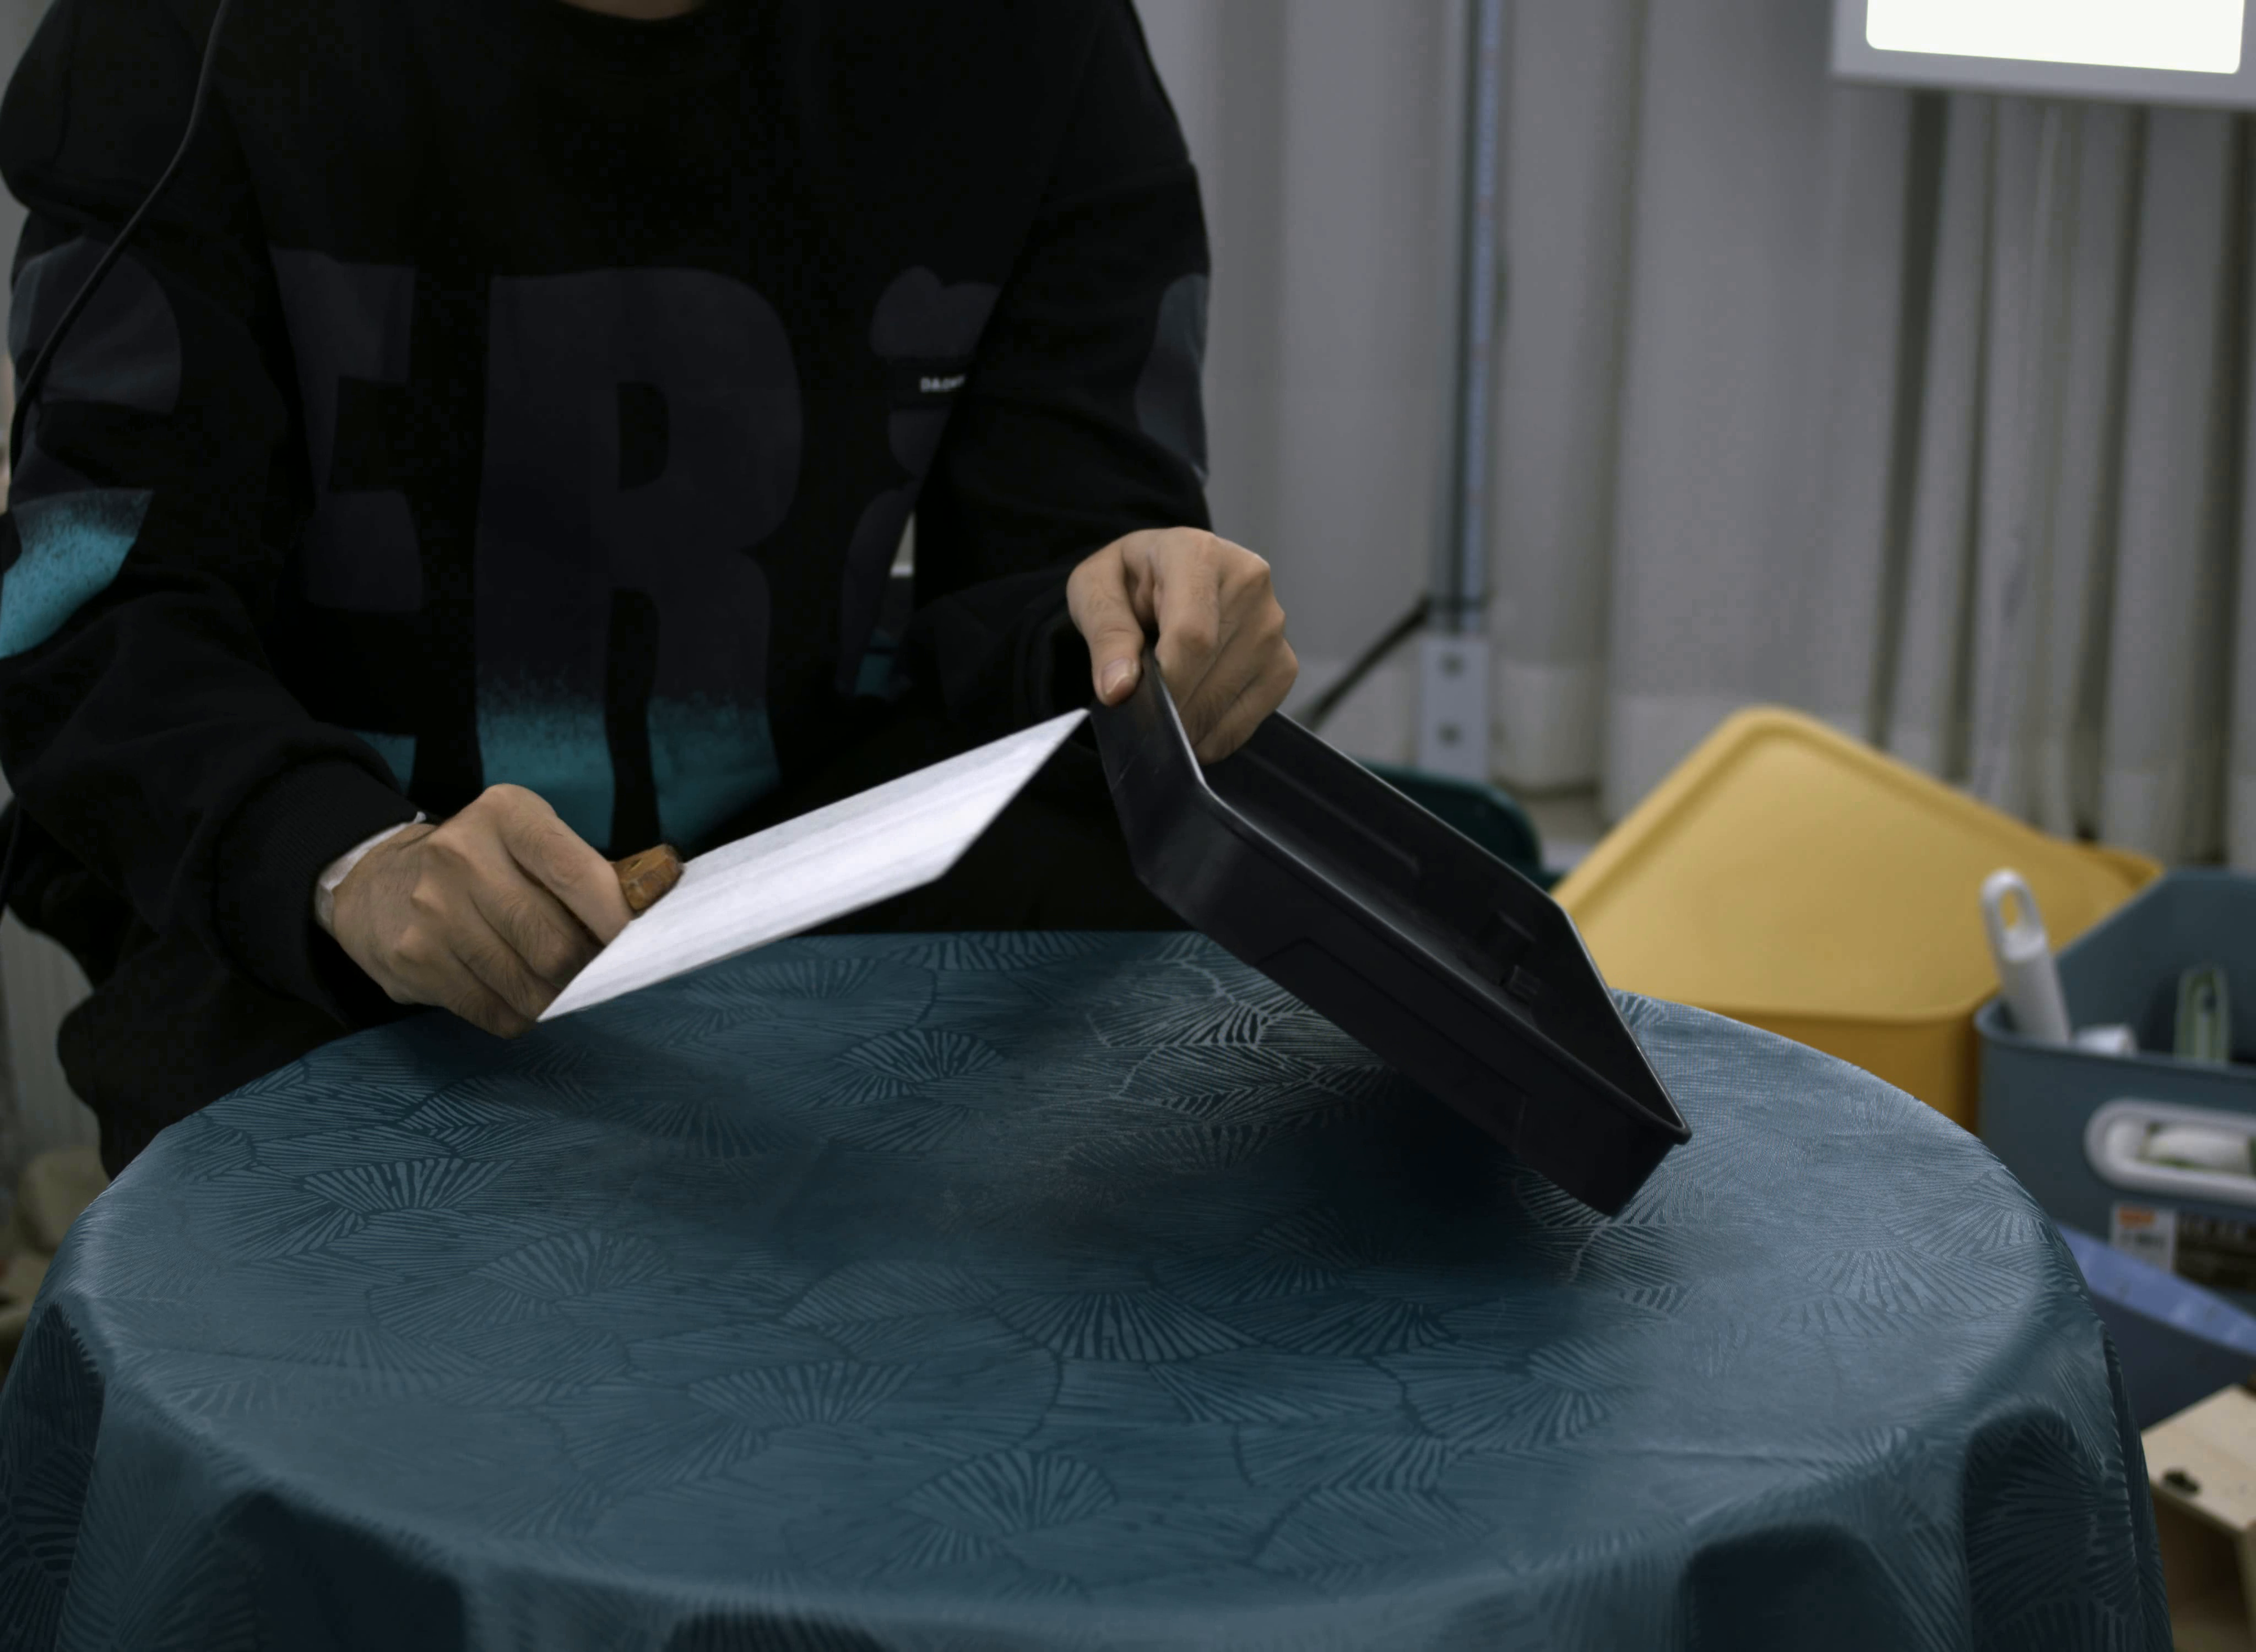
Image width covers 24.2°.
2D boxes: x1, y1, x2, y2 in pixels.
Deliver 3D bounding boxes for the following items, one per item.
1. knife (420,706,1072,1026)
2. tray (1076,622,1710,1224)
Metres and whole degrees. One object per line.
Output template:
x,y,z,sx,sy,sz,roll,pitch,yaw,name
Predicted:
-0.136,0.025,1.628,0.303,0.021,0.093,-20,21,44,knife
0.076,0.024,1.663,0.185,0.037,0.316,35,7,-12,tray
